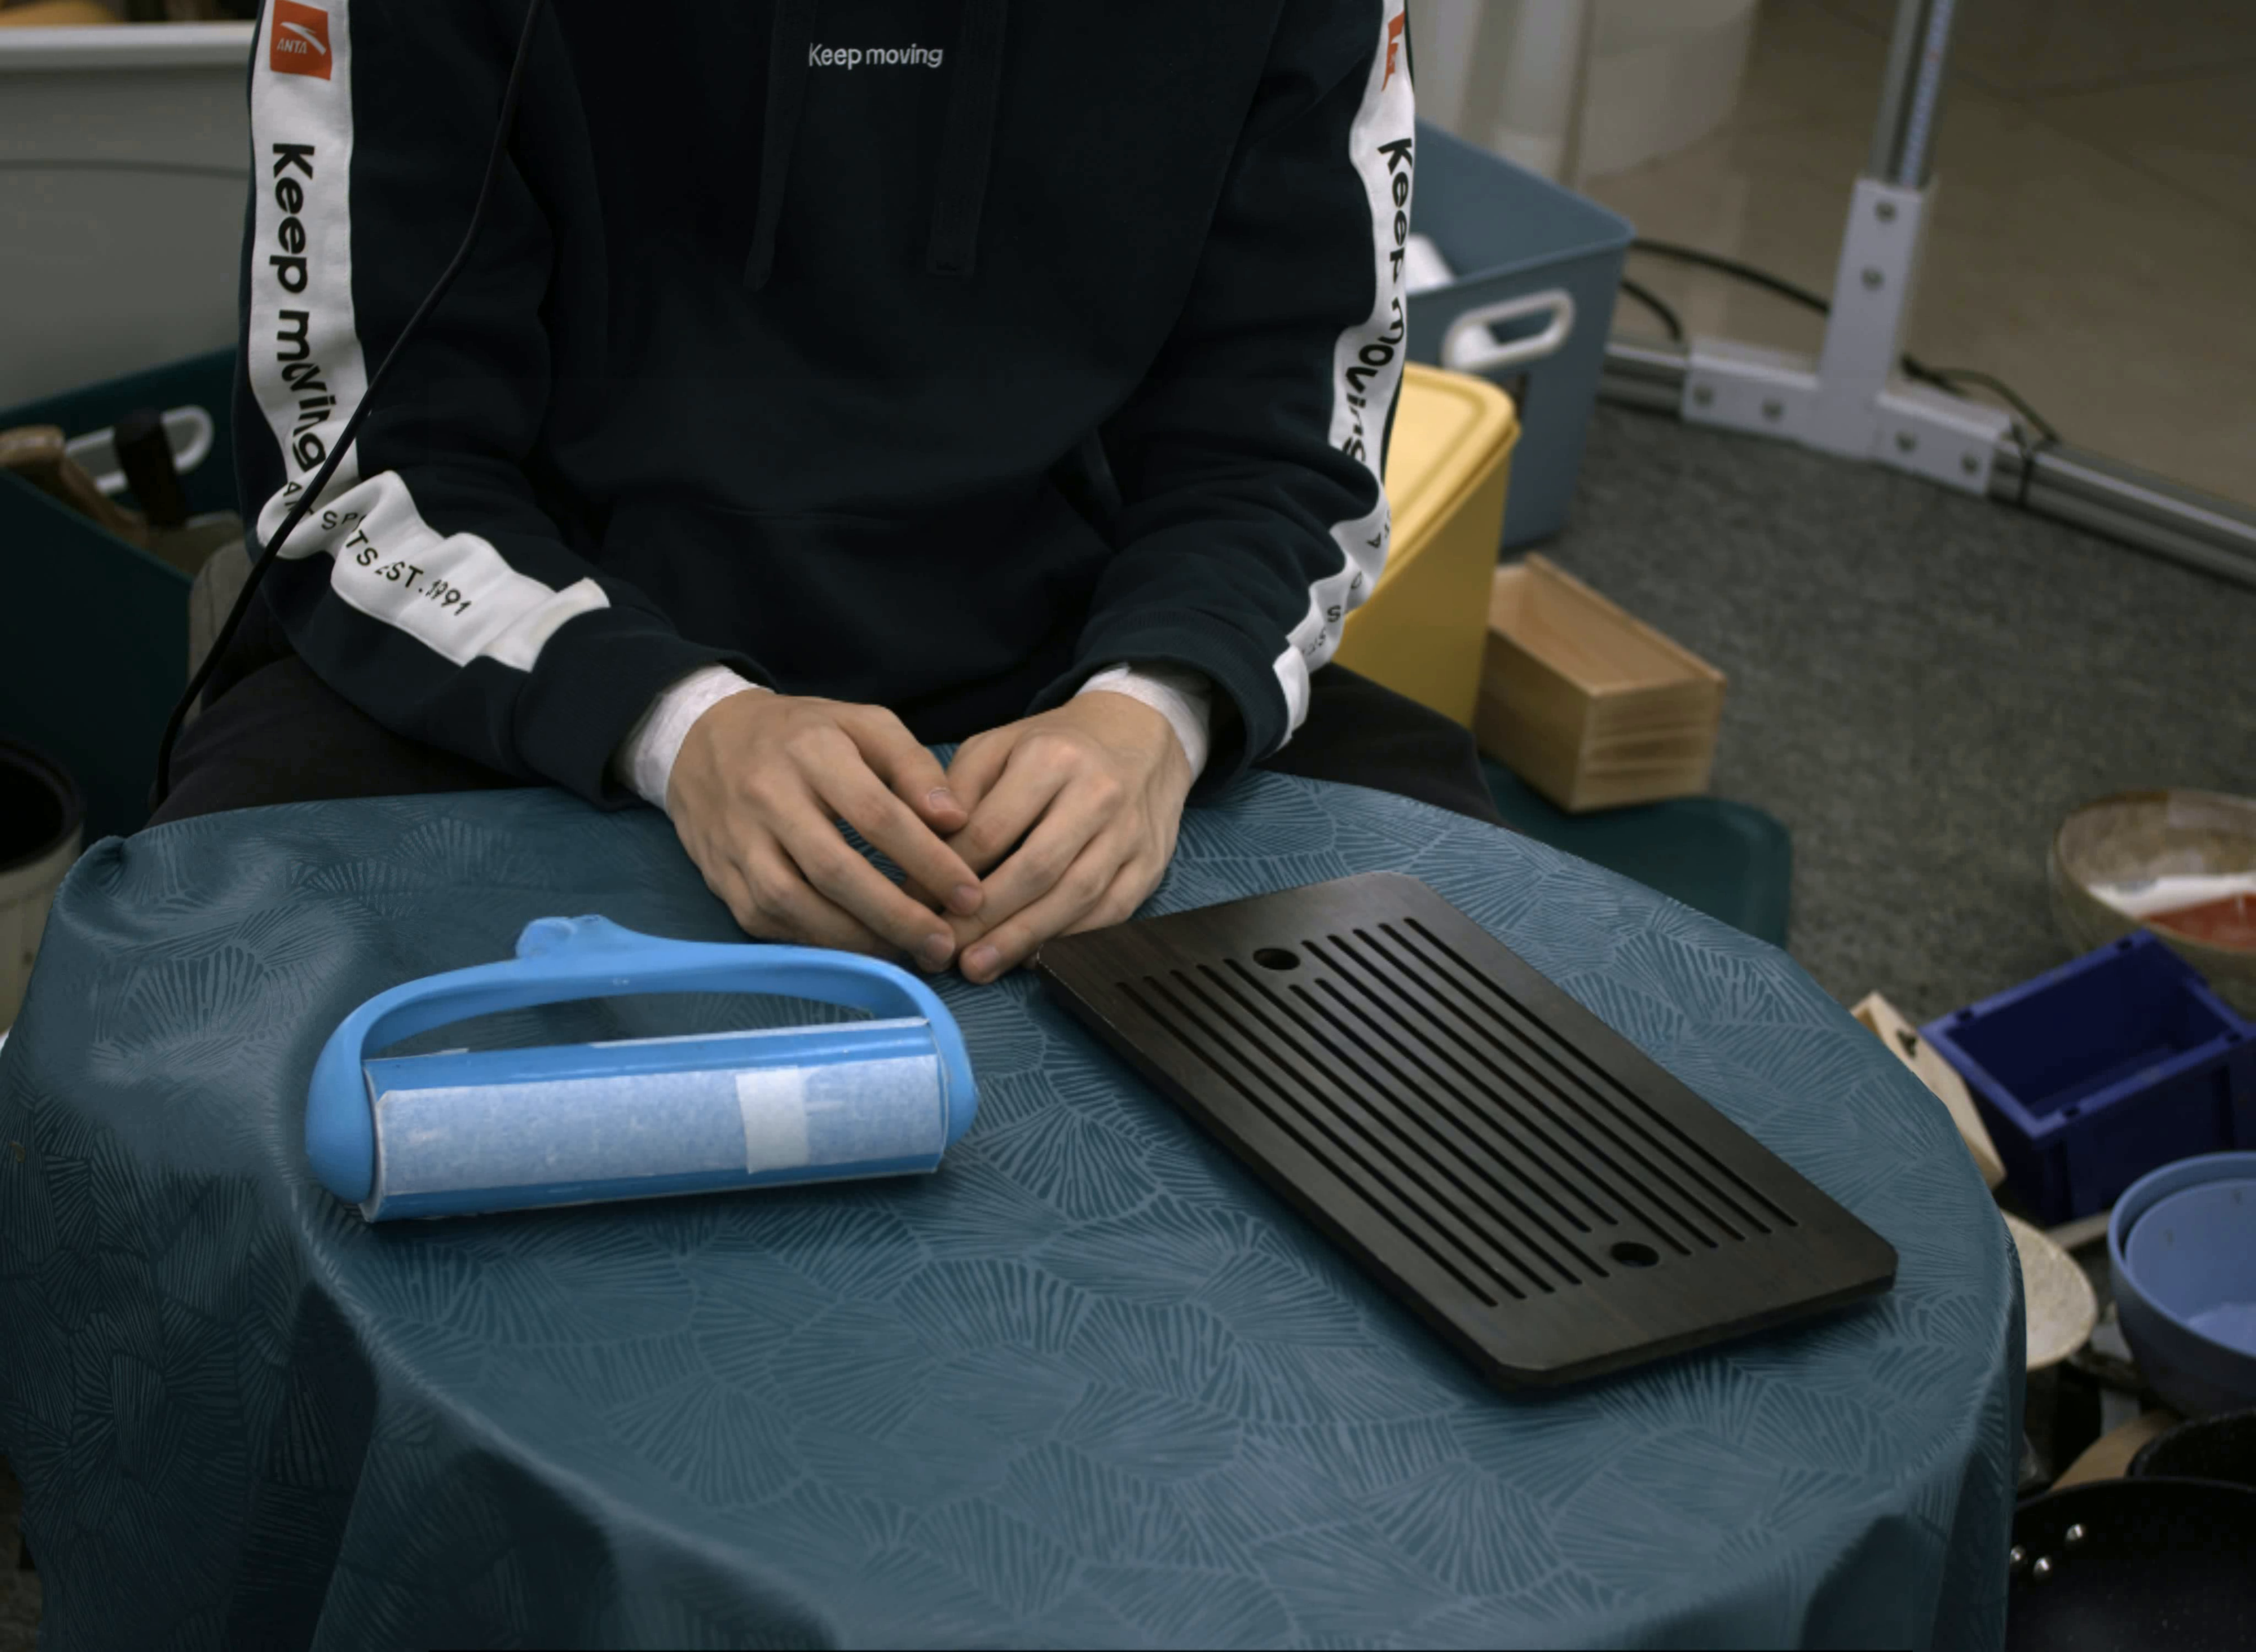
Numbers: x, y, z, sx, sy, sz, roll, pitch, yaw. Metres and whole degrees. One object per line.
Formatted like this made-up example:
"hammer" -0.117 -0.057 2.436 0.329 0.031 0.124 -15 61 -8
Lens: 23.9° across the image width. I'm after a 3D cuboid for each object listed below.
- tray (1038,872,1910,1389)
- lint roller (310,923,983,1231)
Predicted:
"tray" 0.114 0.102 1.847 0.169 0.018 0.308 -12 32 -31
"lint roller" -0.179 0.068 1.804 0.227 0.067 0.182 -7 31 -21
